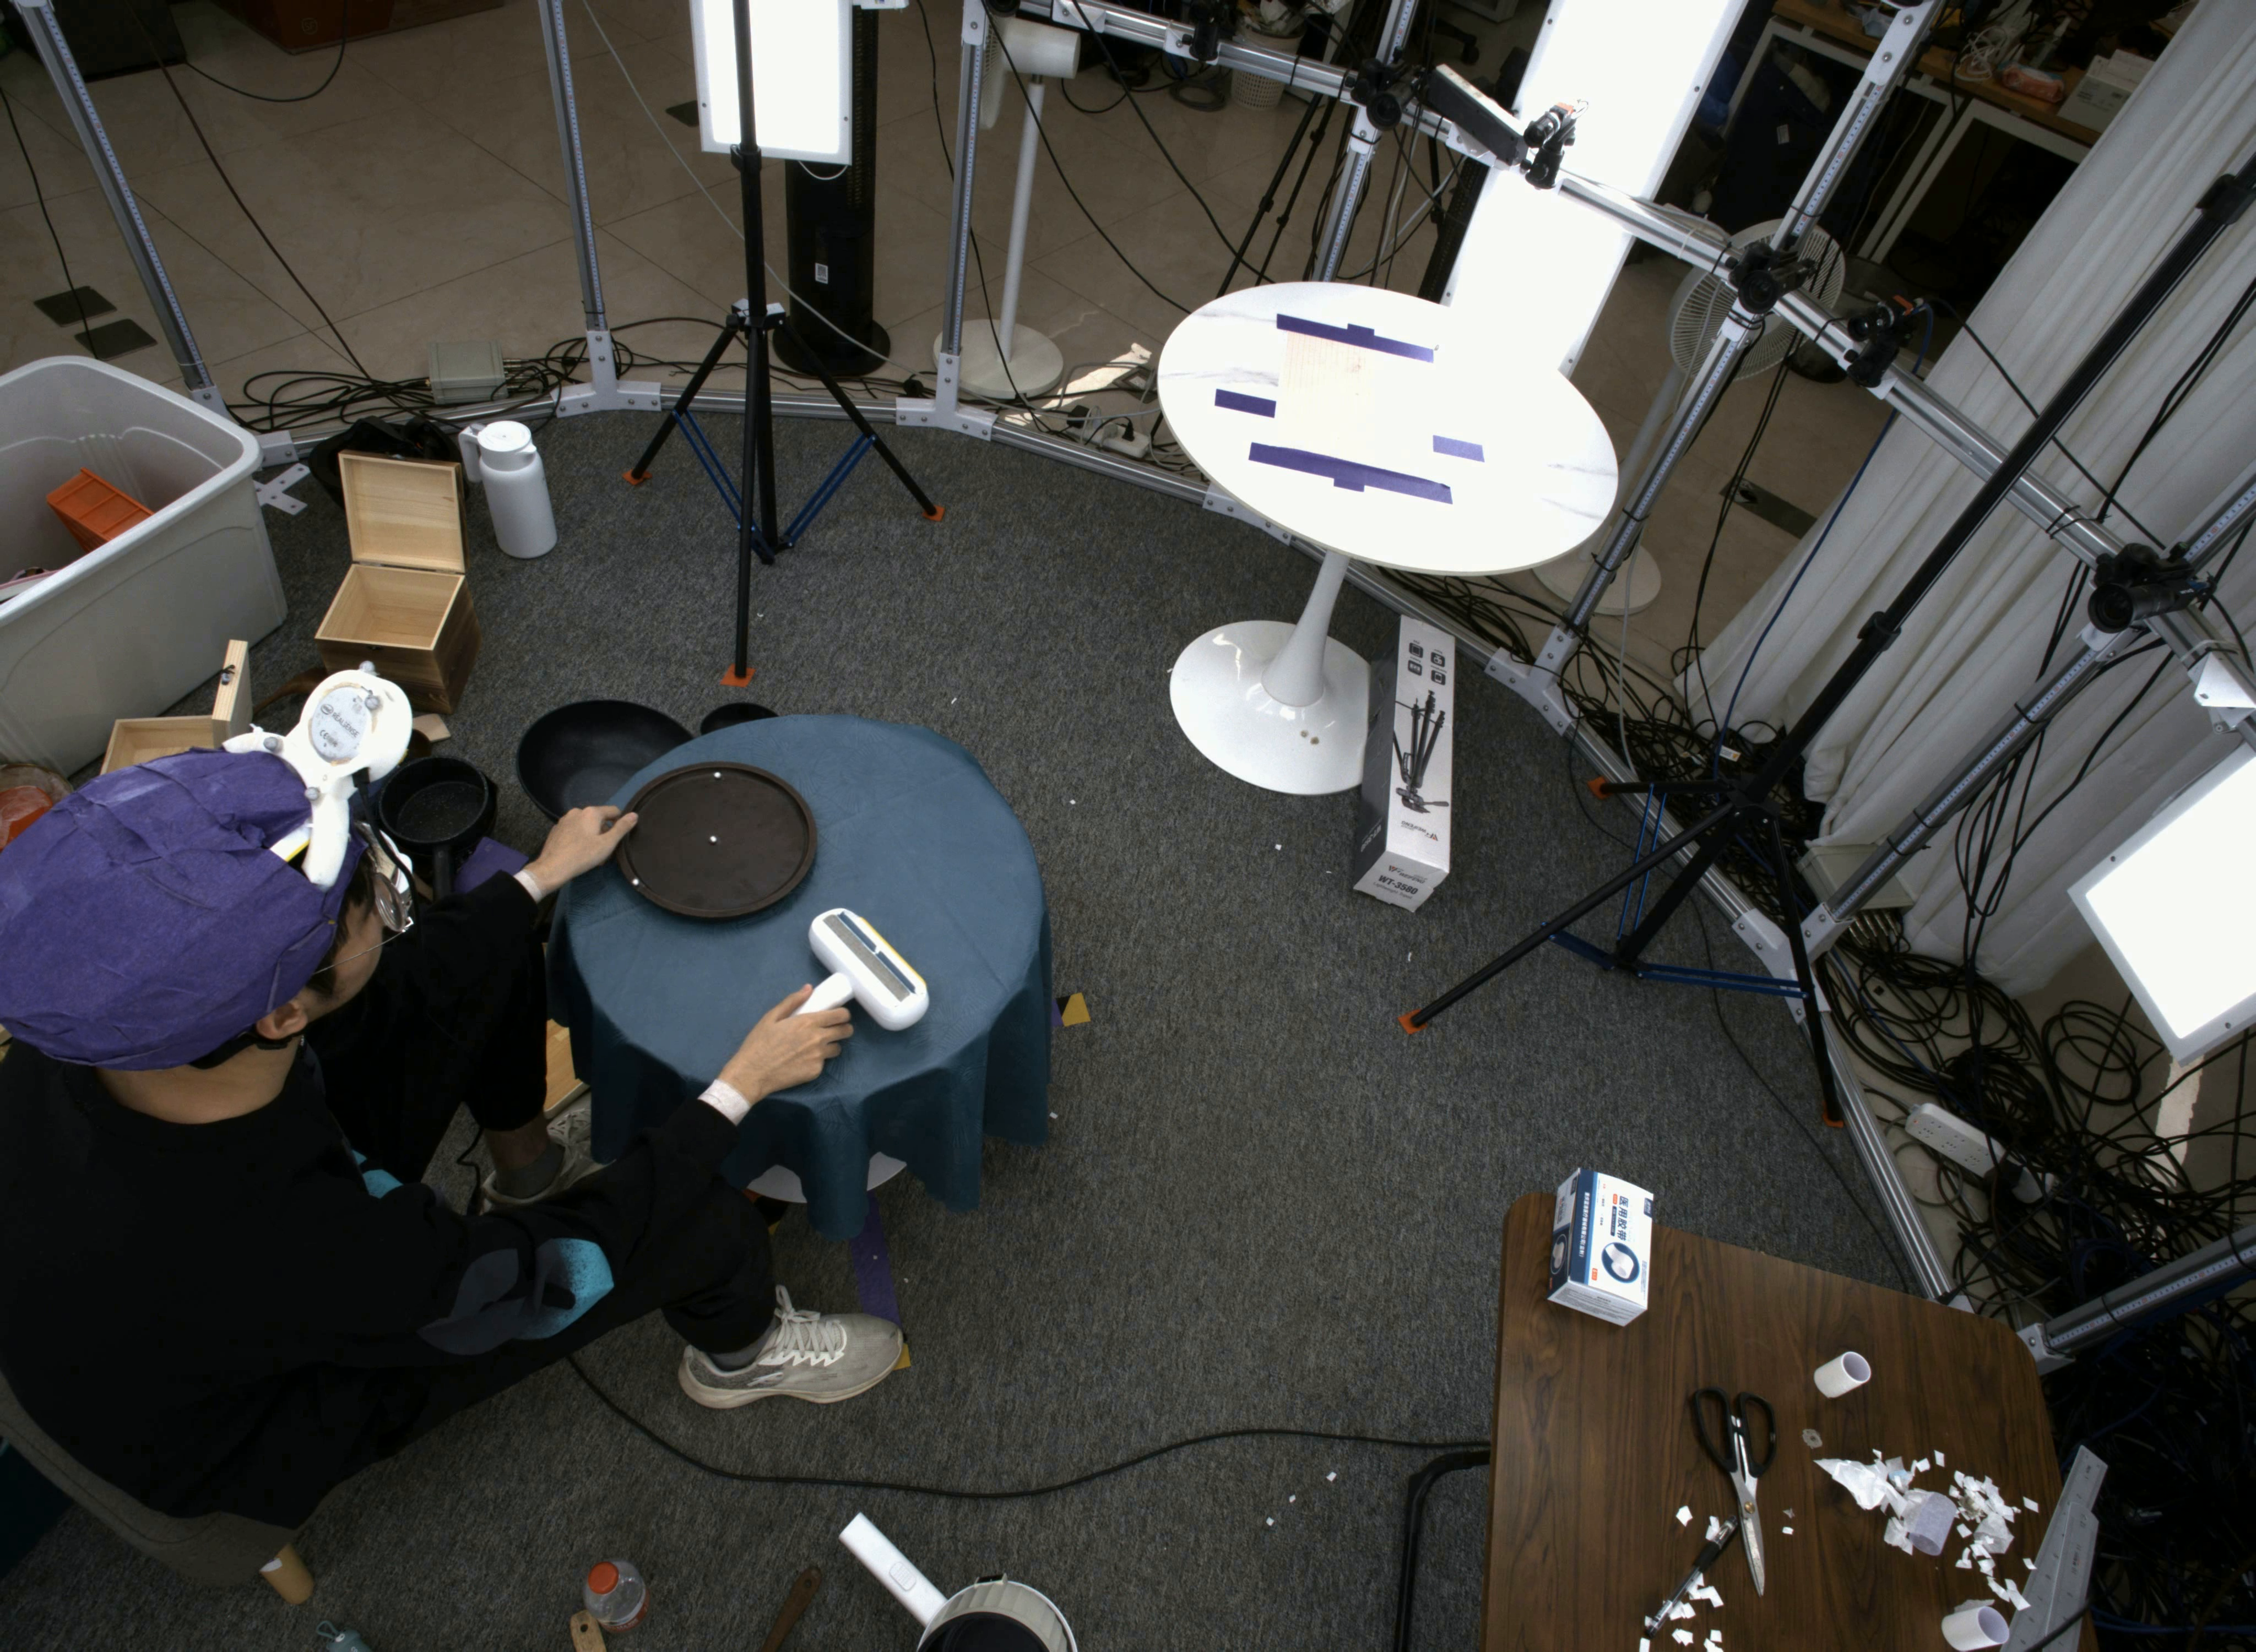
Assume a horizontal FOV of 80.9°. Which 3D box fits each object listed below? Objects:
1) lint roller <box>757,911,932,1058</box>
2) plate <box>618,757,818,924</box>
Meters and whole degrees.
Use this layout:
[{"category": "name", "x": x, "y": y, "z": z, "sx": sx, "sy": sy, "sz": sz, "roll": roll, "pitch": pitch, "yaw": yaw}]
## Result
[{"category": "lint roller", "x": -0.357, "y": 0.205, "z": 1.553, "sx": 0.193, "sy": 0.076, "sz": 0.187, "roll": -29, "pitch": 60, "yaw": -29}, {"category": "plate", "x": -0.529, "y": 0.018, "z": 1.668, "sx": 0.255, "sy": 0.029, "sz": 0.250, "roll": 9, "pitch": 53, "yaw": -11}]
